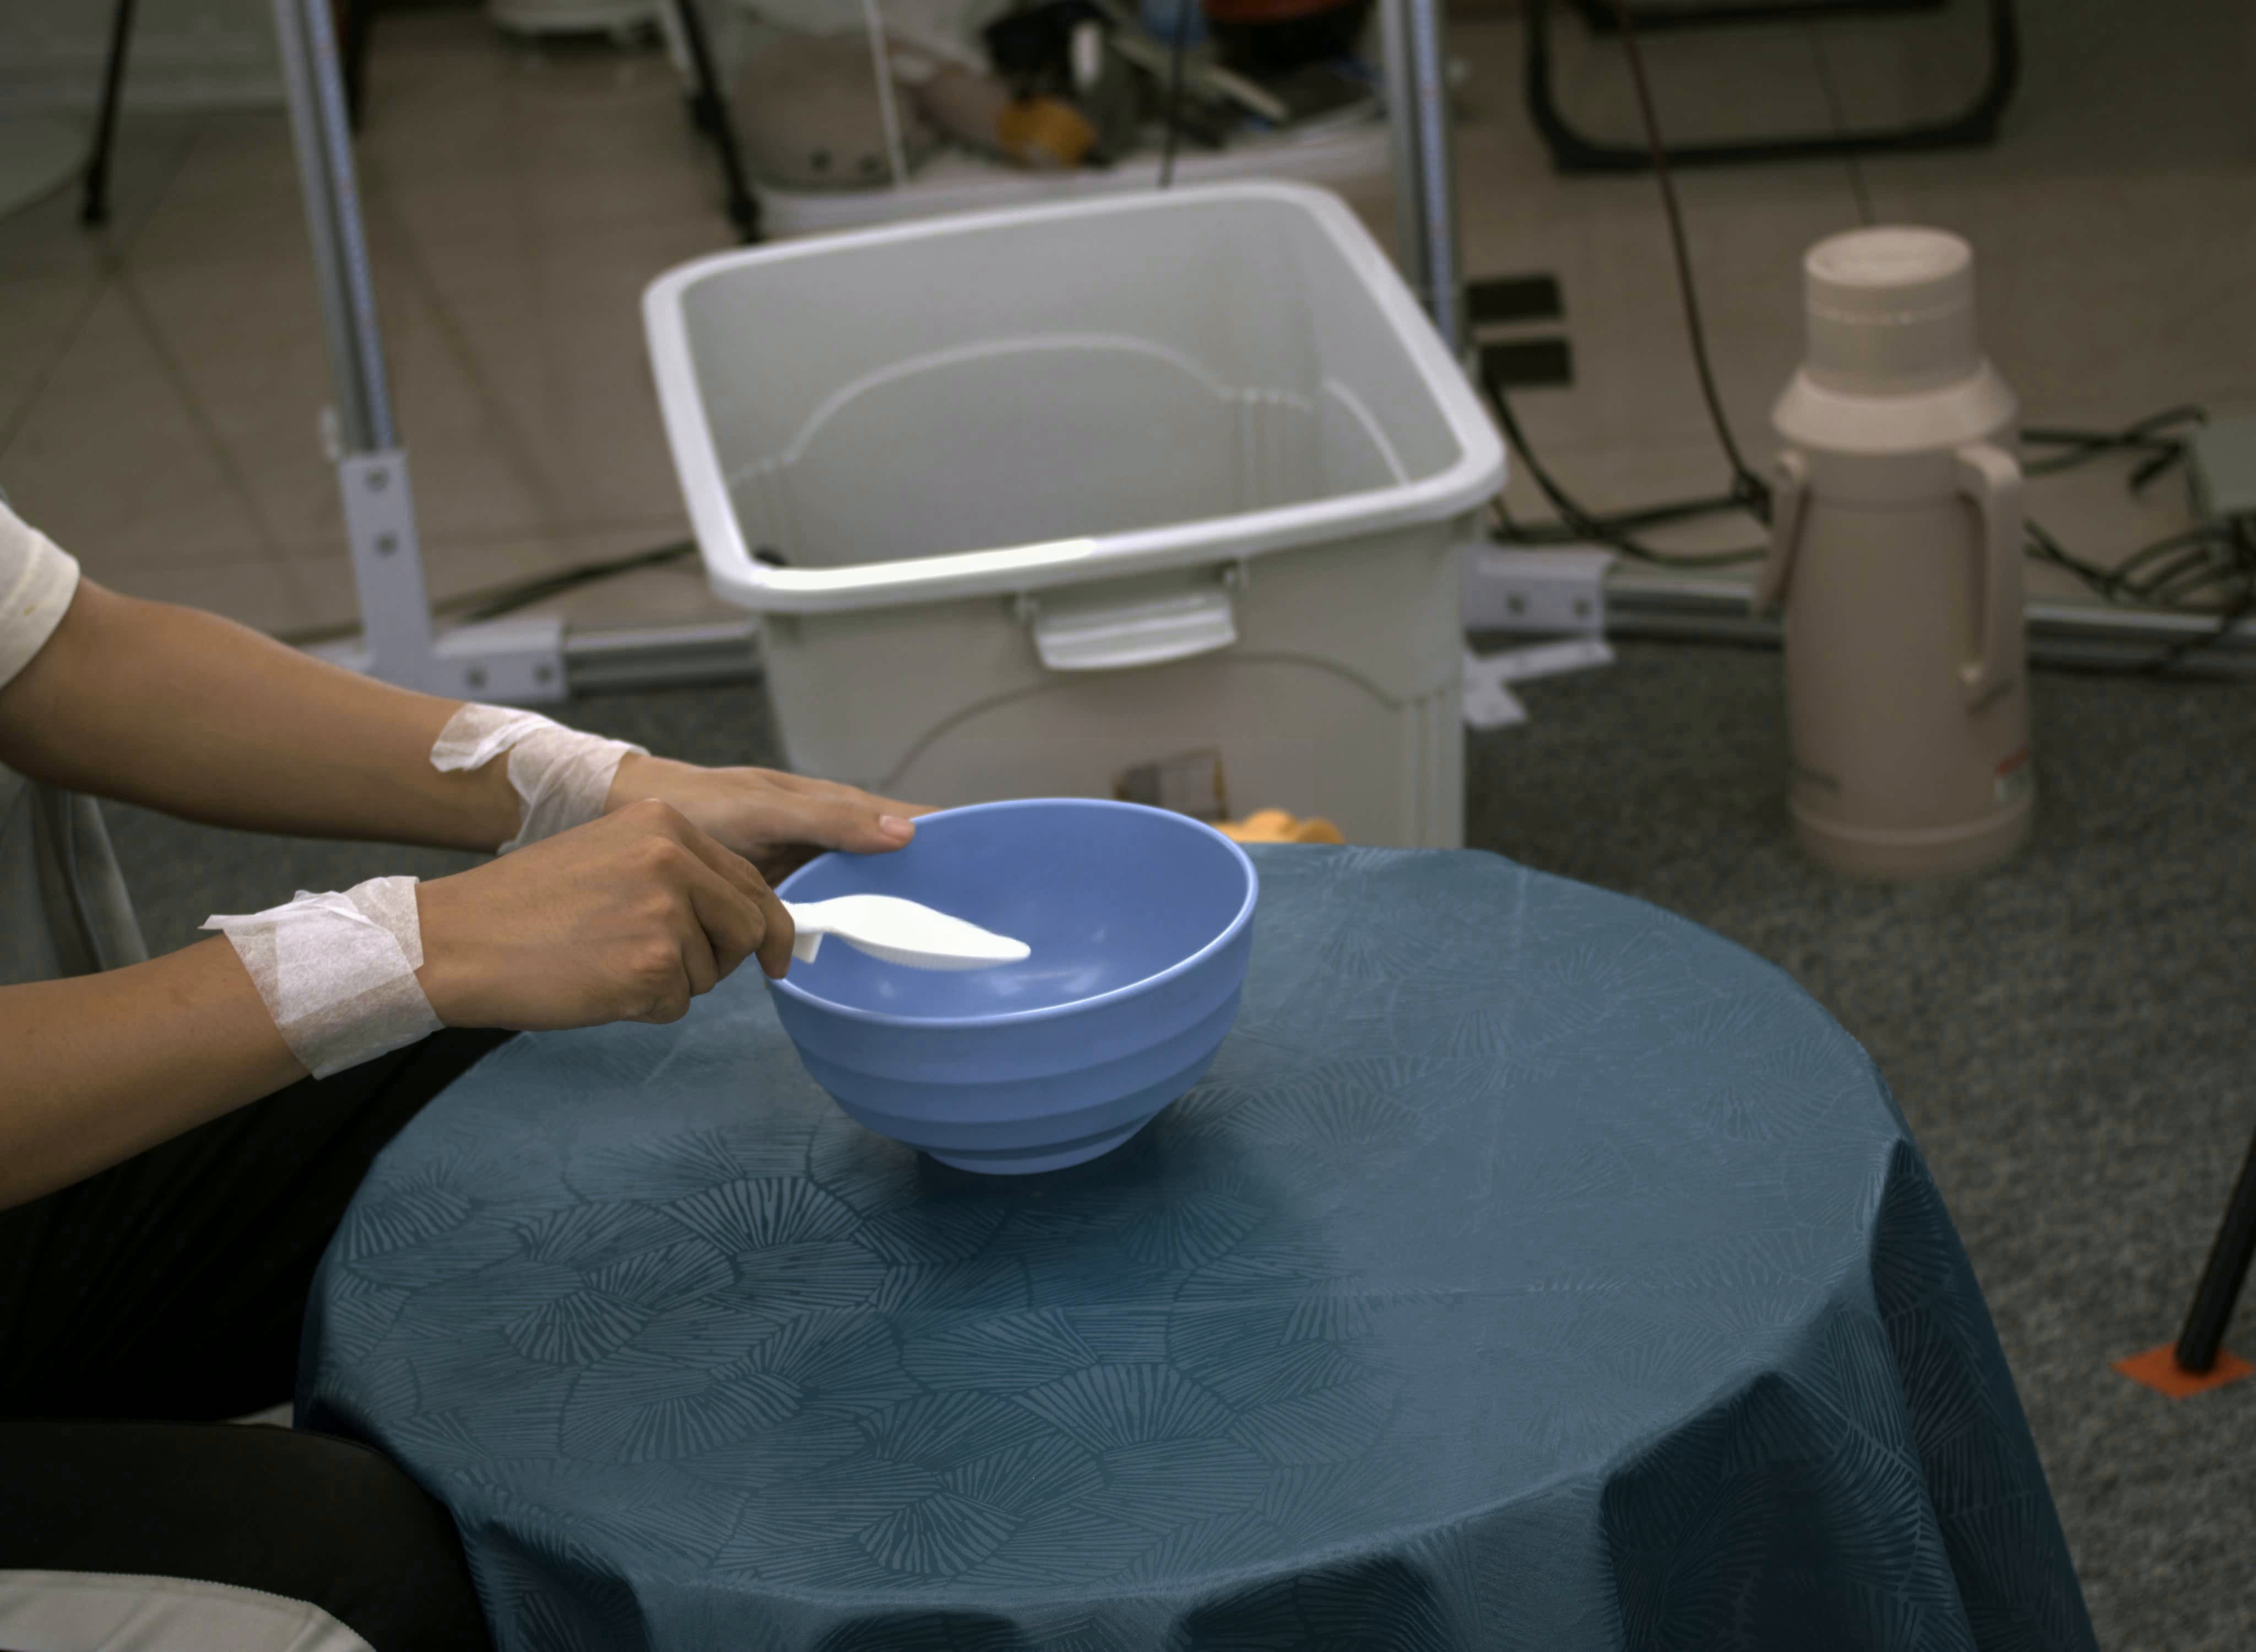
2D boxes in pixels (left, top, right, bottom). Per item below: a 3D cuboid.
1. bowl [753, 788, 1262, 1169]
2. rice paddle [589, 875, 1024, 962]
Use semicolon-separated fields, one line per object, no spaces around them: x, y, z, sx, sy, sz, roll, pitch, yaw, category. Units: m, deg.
-0.043;0.070;2.194;0.196;0.097;0.193;-4;27;2;bowl
-0.114;0.033;2.085;0.068;0.030;0.205;26;16;38;rice paddle
